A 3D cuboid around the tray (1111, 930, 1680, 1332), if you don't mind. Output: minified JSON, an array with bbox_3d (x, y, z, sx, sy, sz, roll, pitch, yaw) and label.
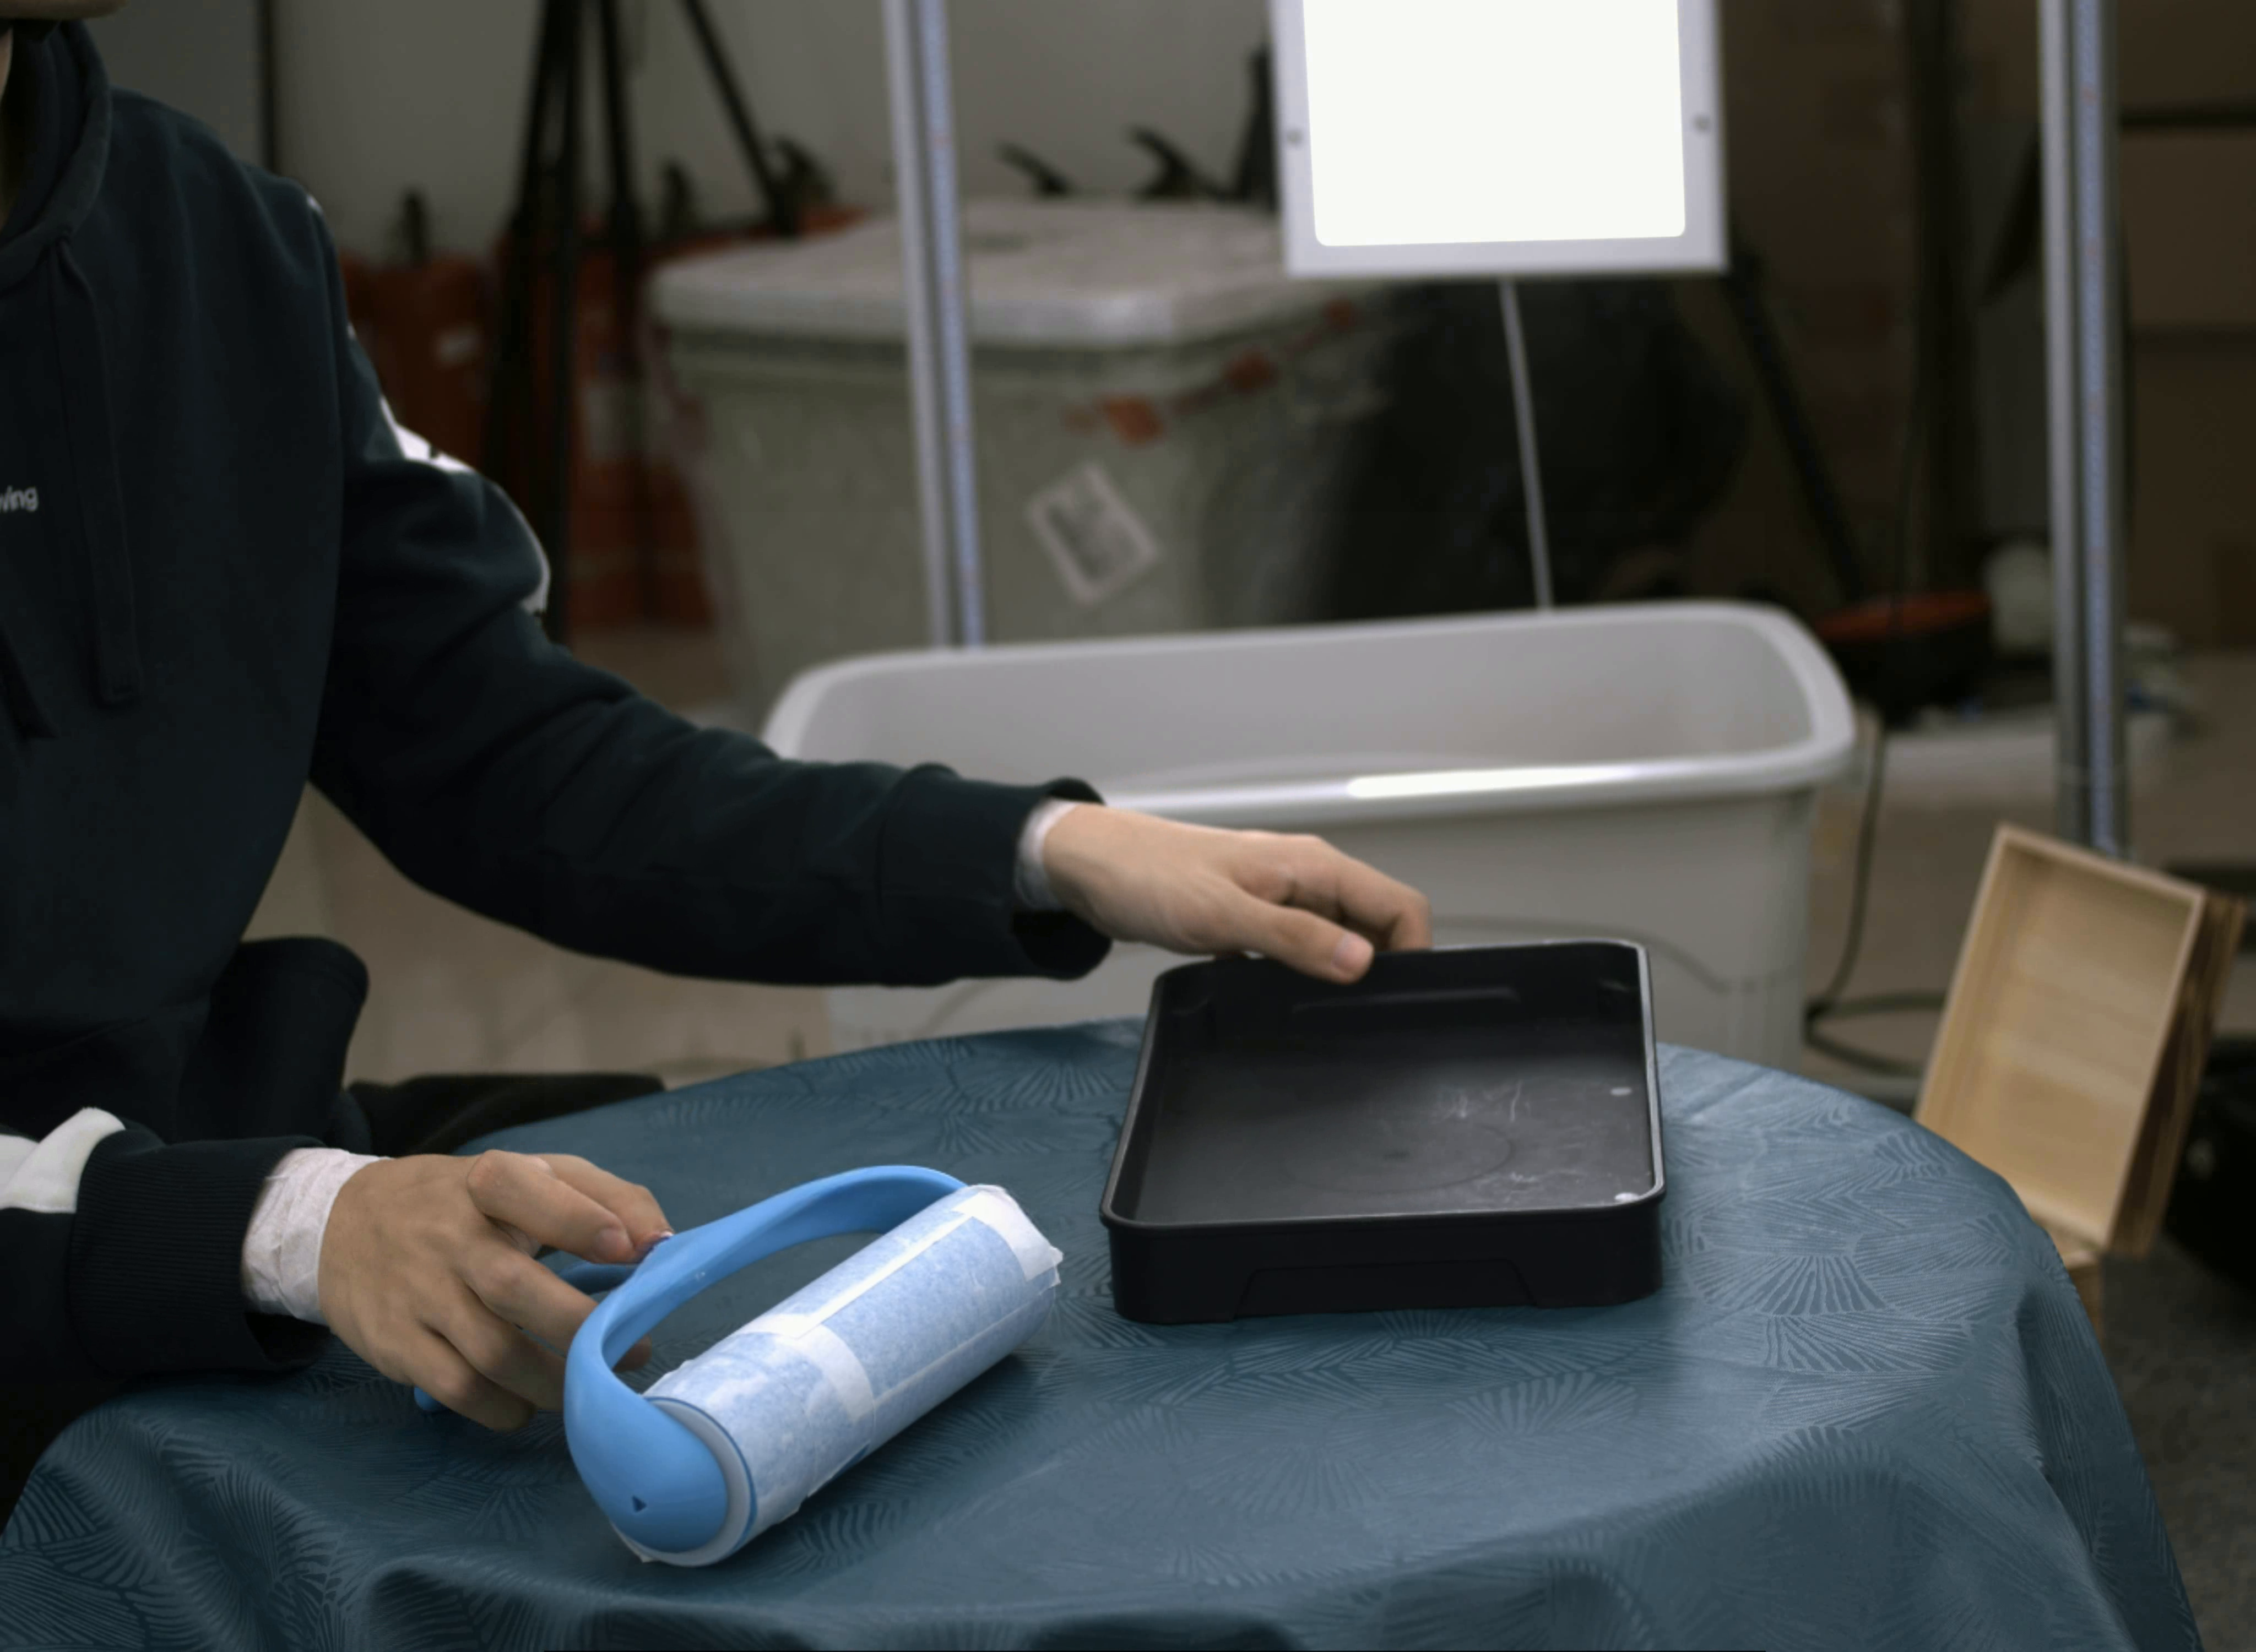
[{"bbox_3d":[0.093,0.100,1.895,0.184,0.037,0.316,-5,15,5],"label":"tray"}]

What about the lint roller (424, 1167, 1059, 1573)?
[{"bbox_3d":[-0.141,0.161,1.688,0.183,0.068,0.224,3,18,25],"label":"lint roller"}]
